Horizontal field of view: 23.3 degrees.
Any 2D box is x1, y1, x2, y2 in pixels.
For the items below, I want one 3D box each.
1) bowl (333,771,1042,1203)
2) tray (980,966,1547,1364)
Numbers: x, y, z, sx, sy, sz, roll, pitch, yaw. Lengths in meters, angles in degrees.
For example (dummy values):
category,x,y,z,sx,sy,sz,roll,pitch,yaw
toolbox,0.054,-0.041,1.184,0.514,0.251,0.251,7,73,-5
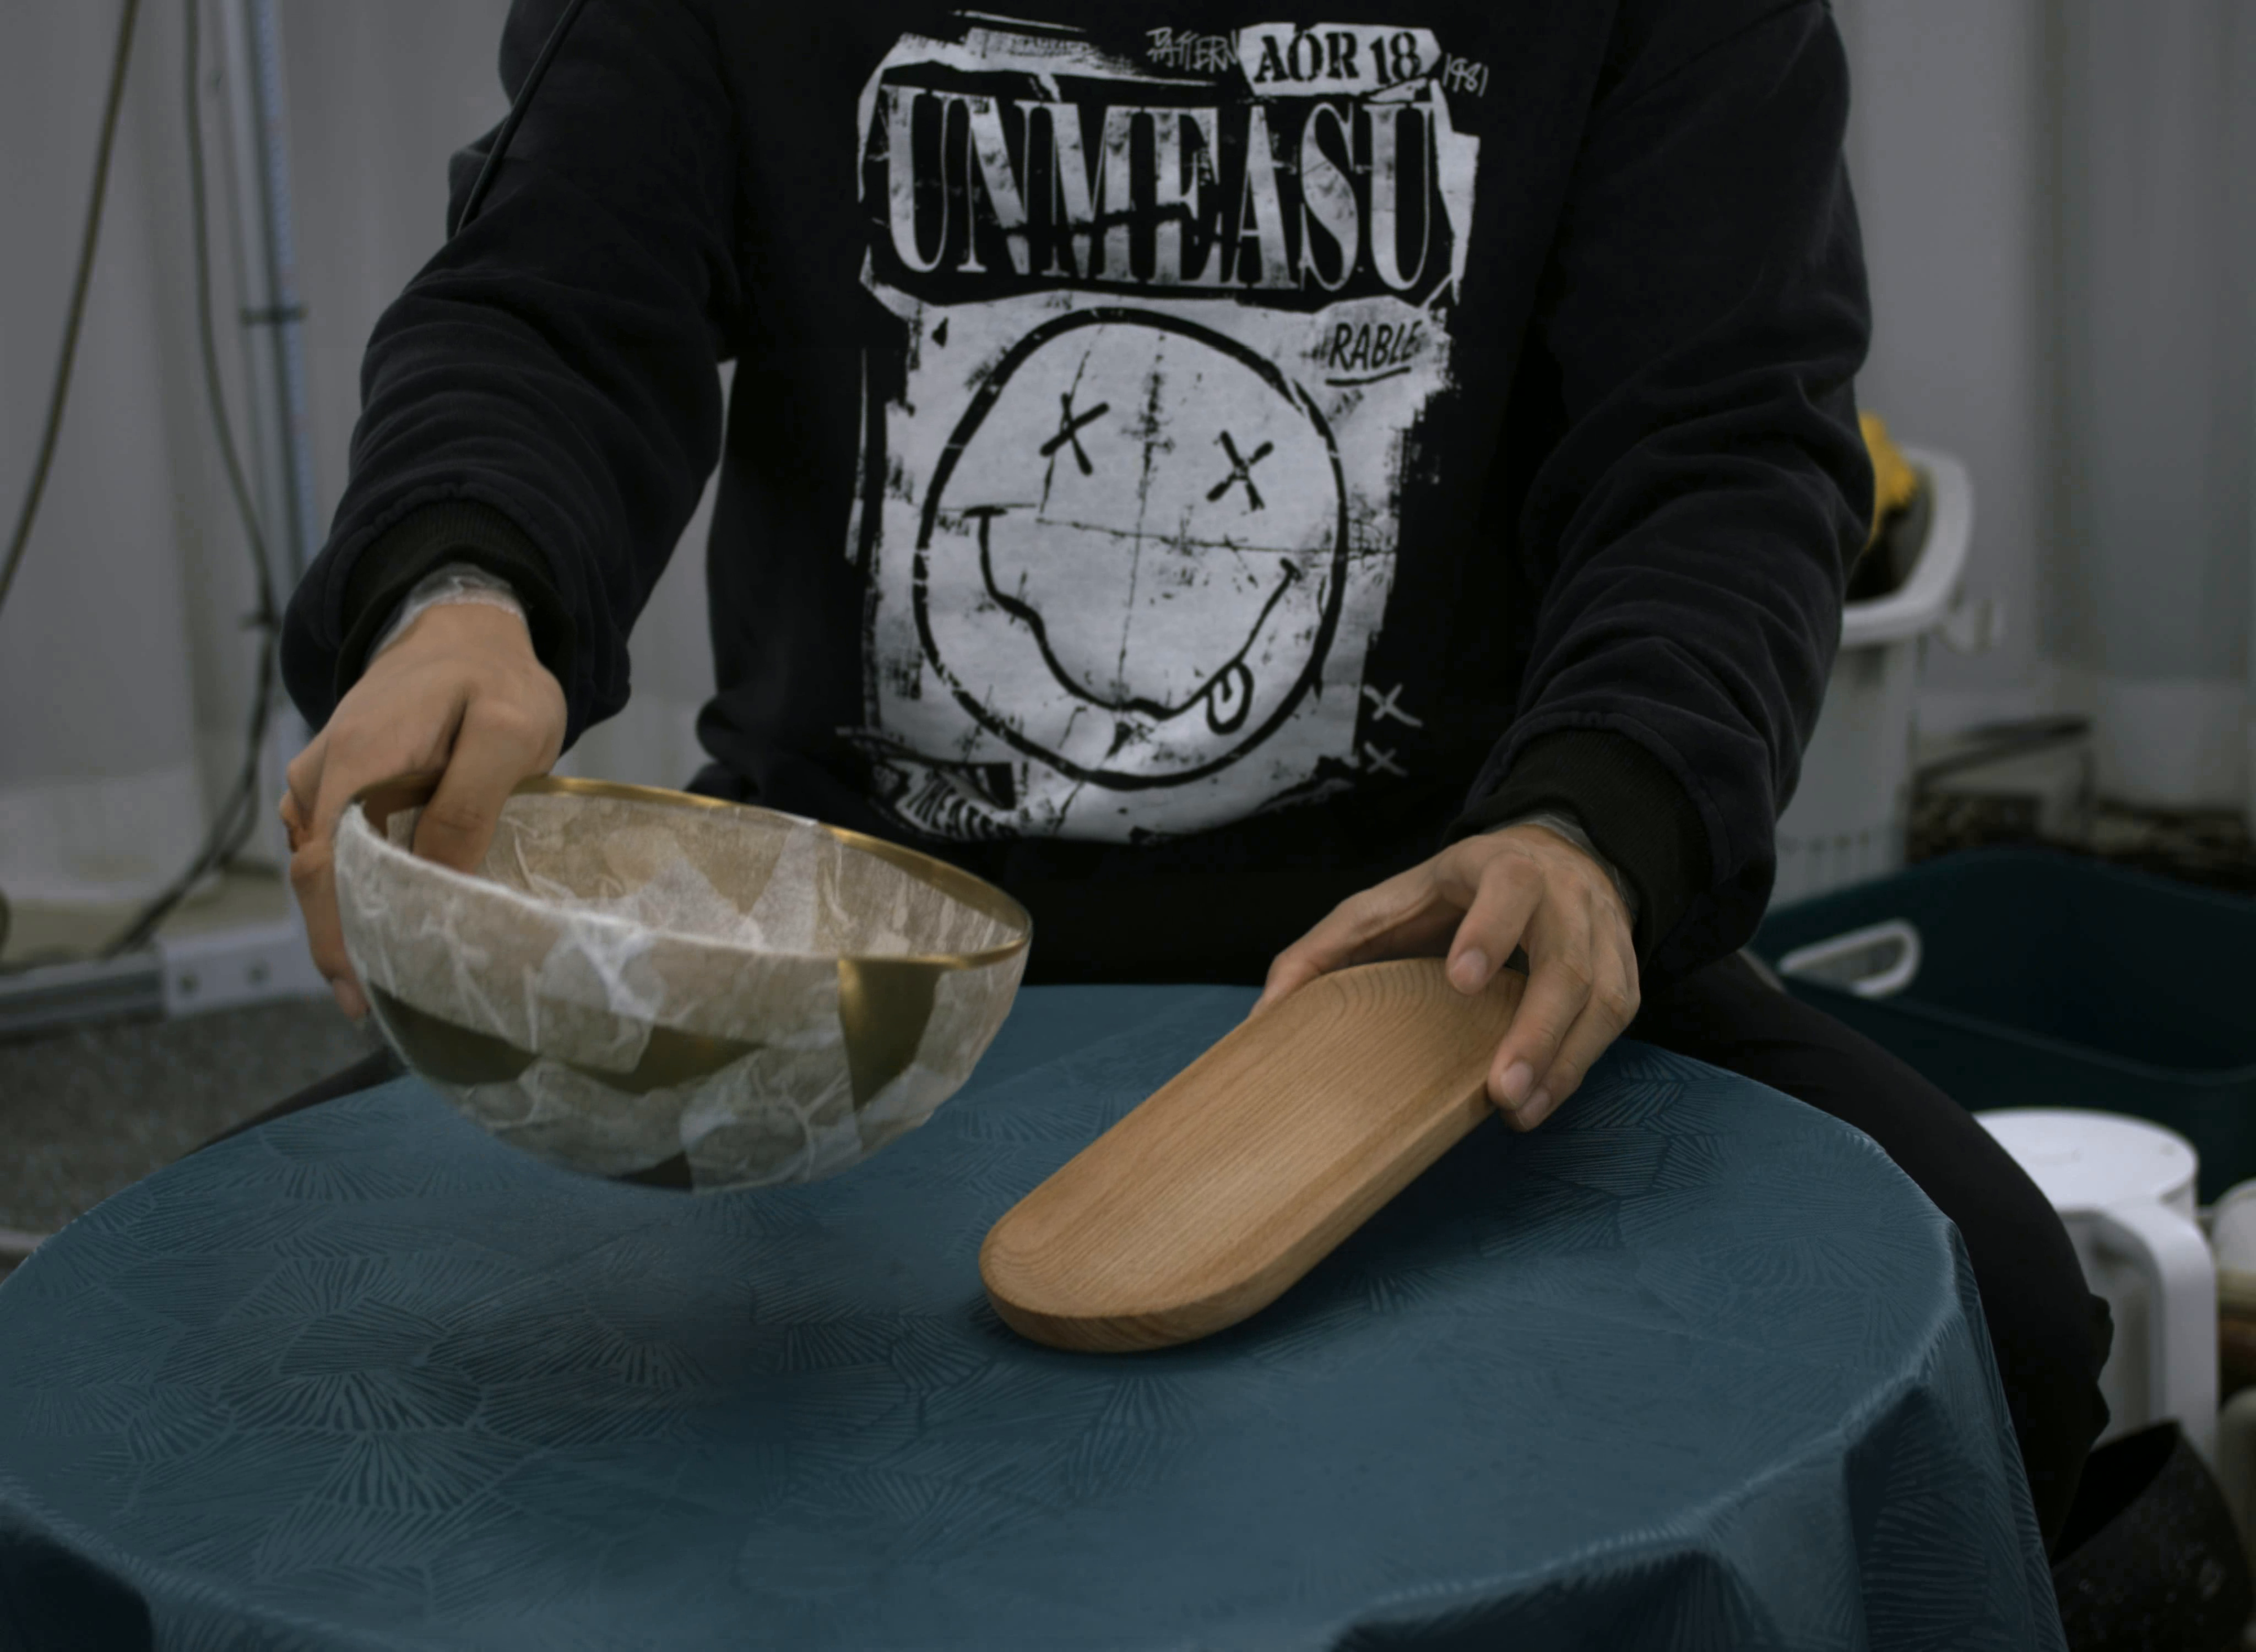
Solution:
category,x,y,z,sx,sy,sz,roll,pitch,yaw
bowl,-0.130,0.055,1.571,0.214,0.094,0.215,10,10,-2
tray,0.044,0.100,1.651,0.102,0.020,0.232,4,29,36
